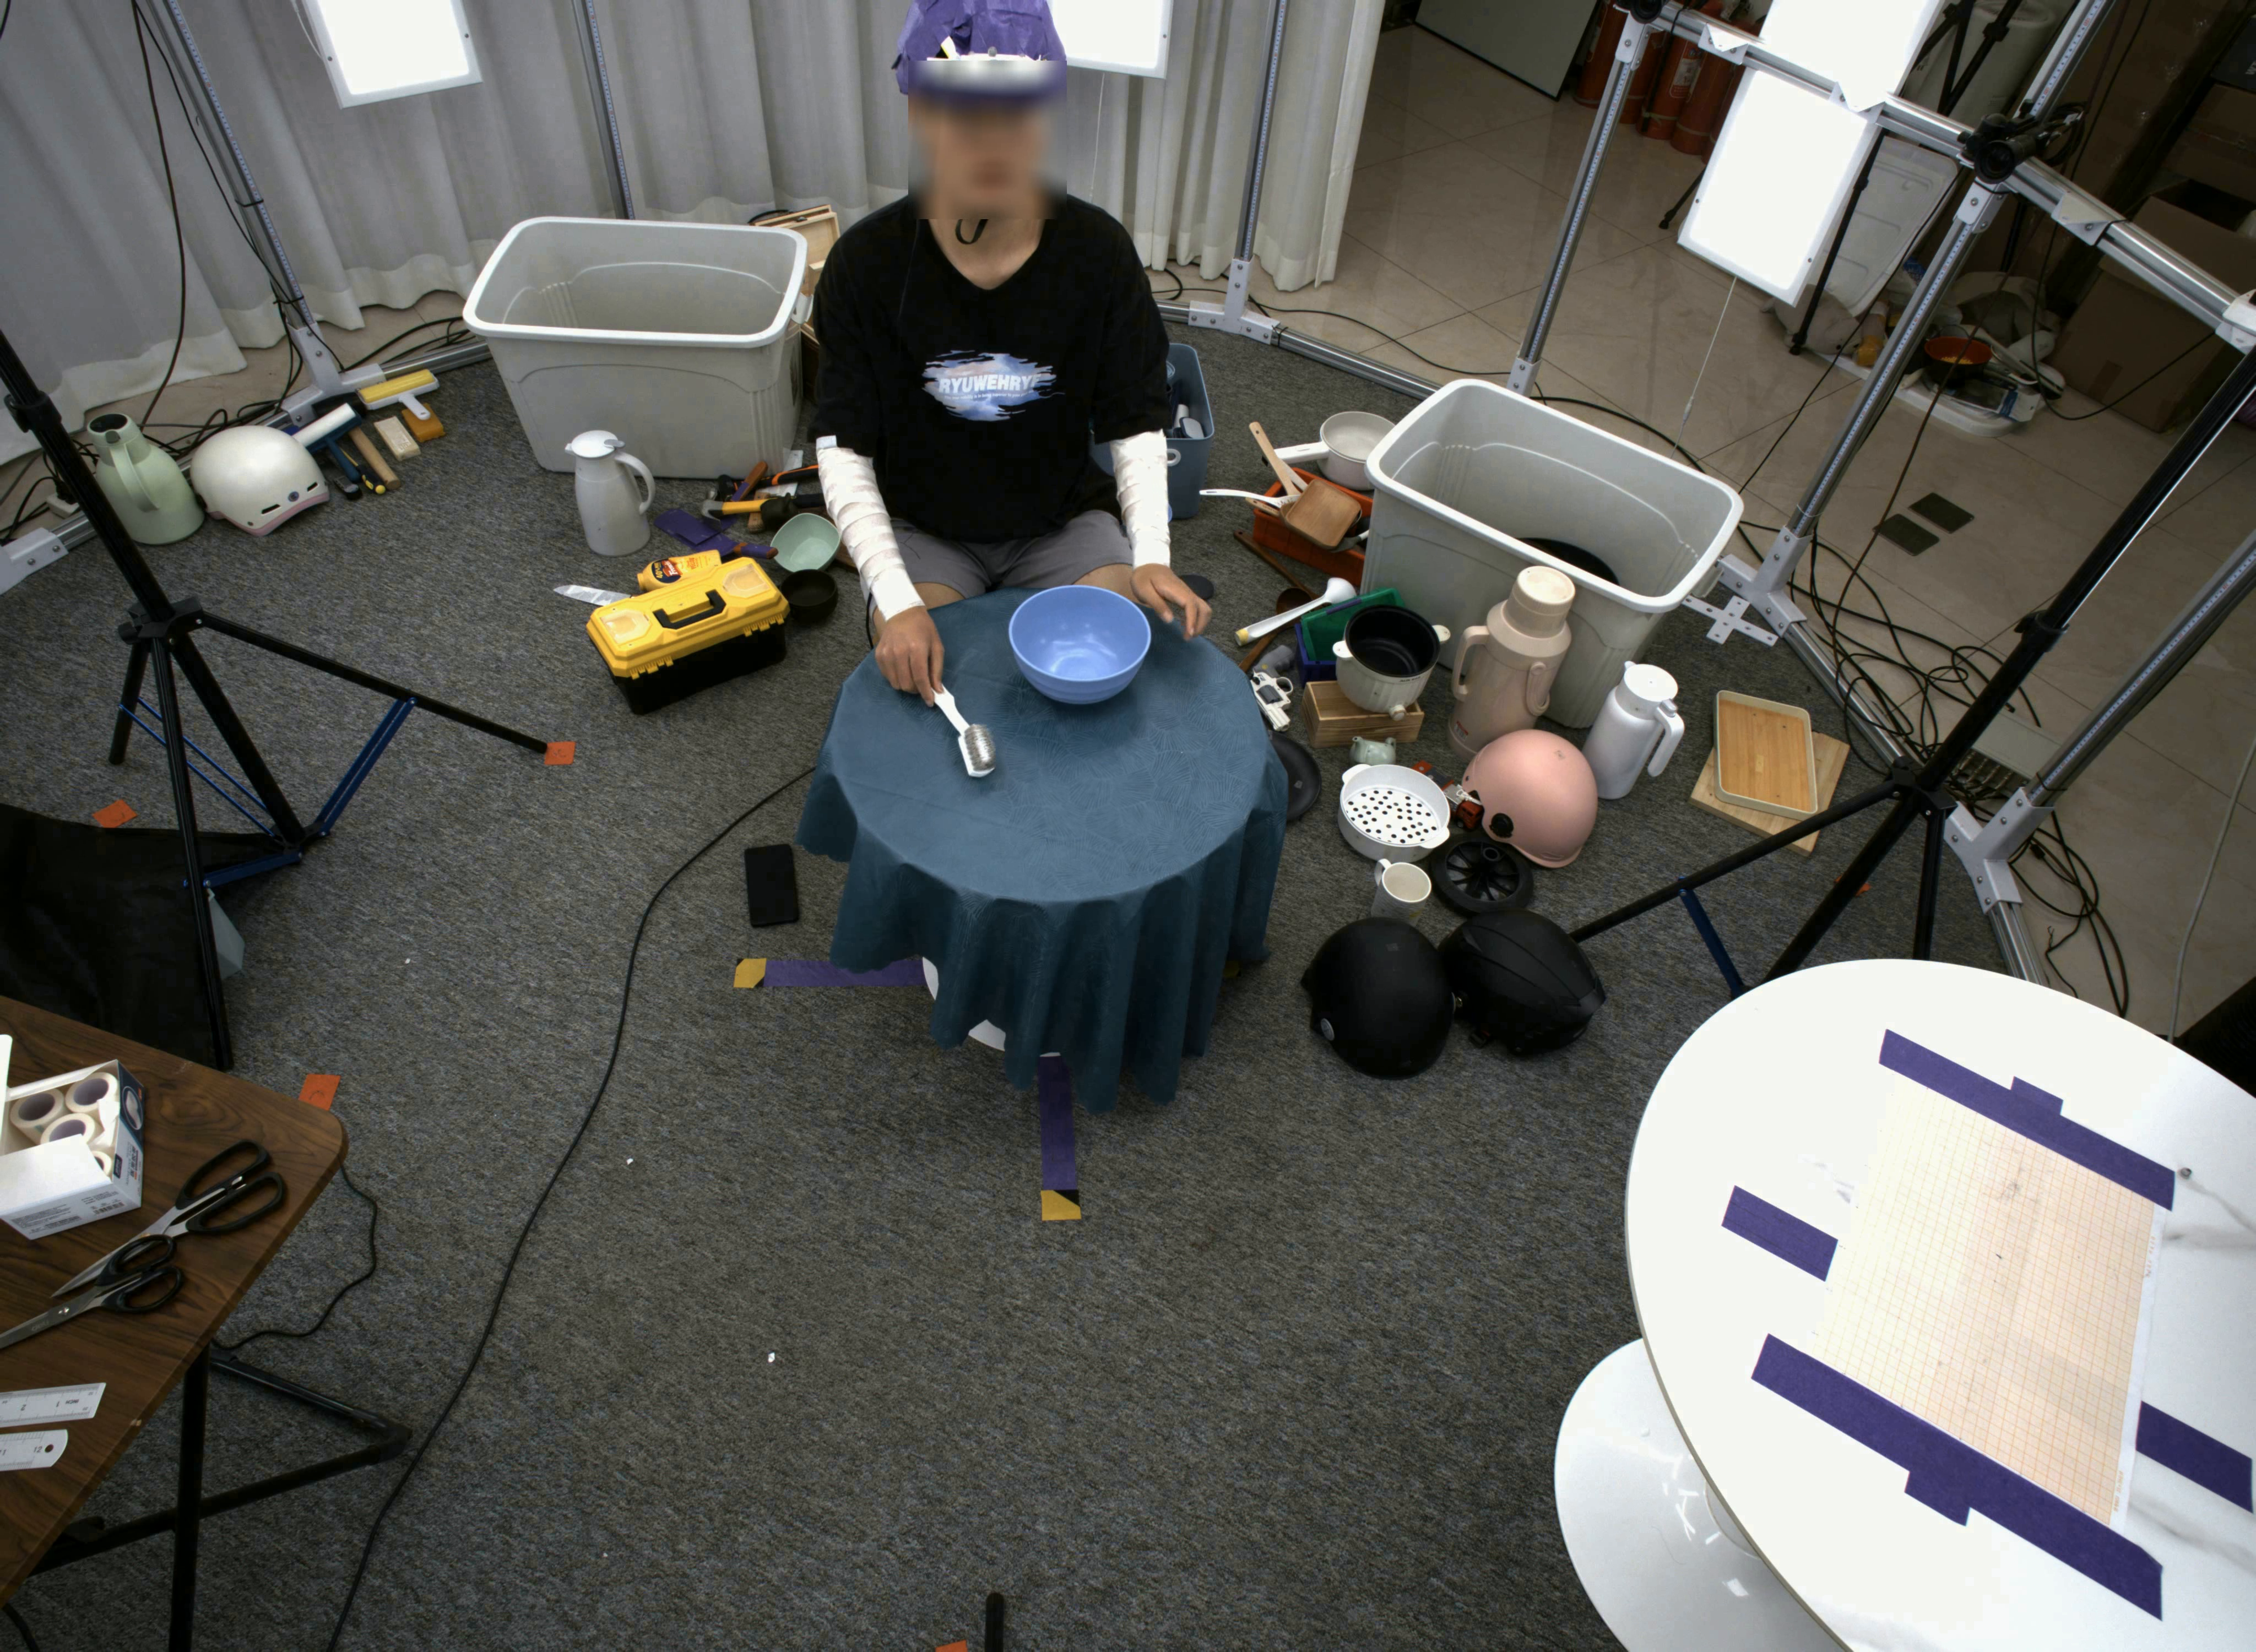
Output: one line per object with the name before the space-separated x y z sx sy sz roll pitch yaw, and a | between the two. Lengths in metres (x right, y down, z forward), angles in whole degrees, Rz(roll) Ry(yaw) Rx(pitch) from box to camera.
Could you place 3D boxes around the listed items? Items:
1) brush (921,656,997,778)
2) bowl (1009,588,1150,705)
brush | -0.234 -0.163 1.762 0.034 0.049 0.249 -5 50 -28
bowl | -0.067 -0.240 1.818 0.196 0.093 0.201 0 48 -1
